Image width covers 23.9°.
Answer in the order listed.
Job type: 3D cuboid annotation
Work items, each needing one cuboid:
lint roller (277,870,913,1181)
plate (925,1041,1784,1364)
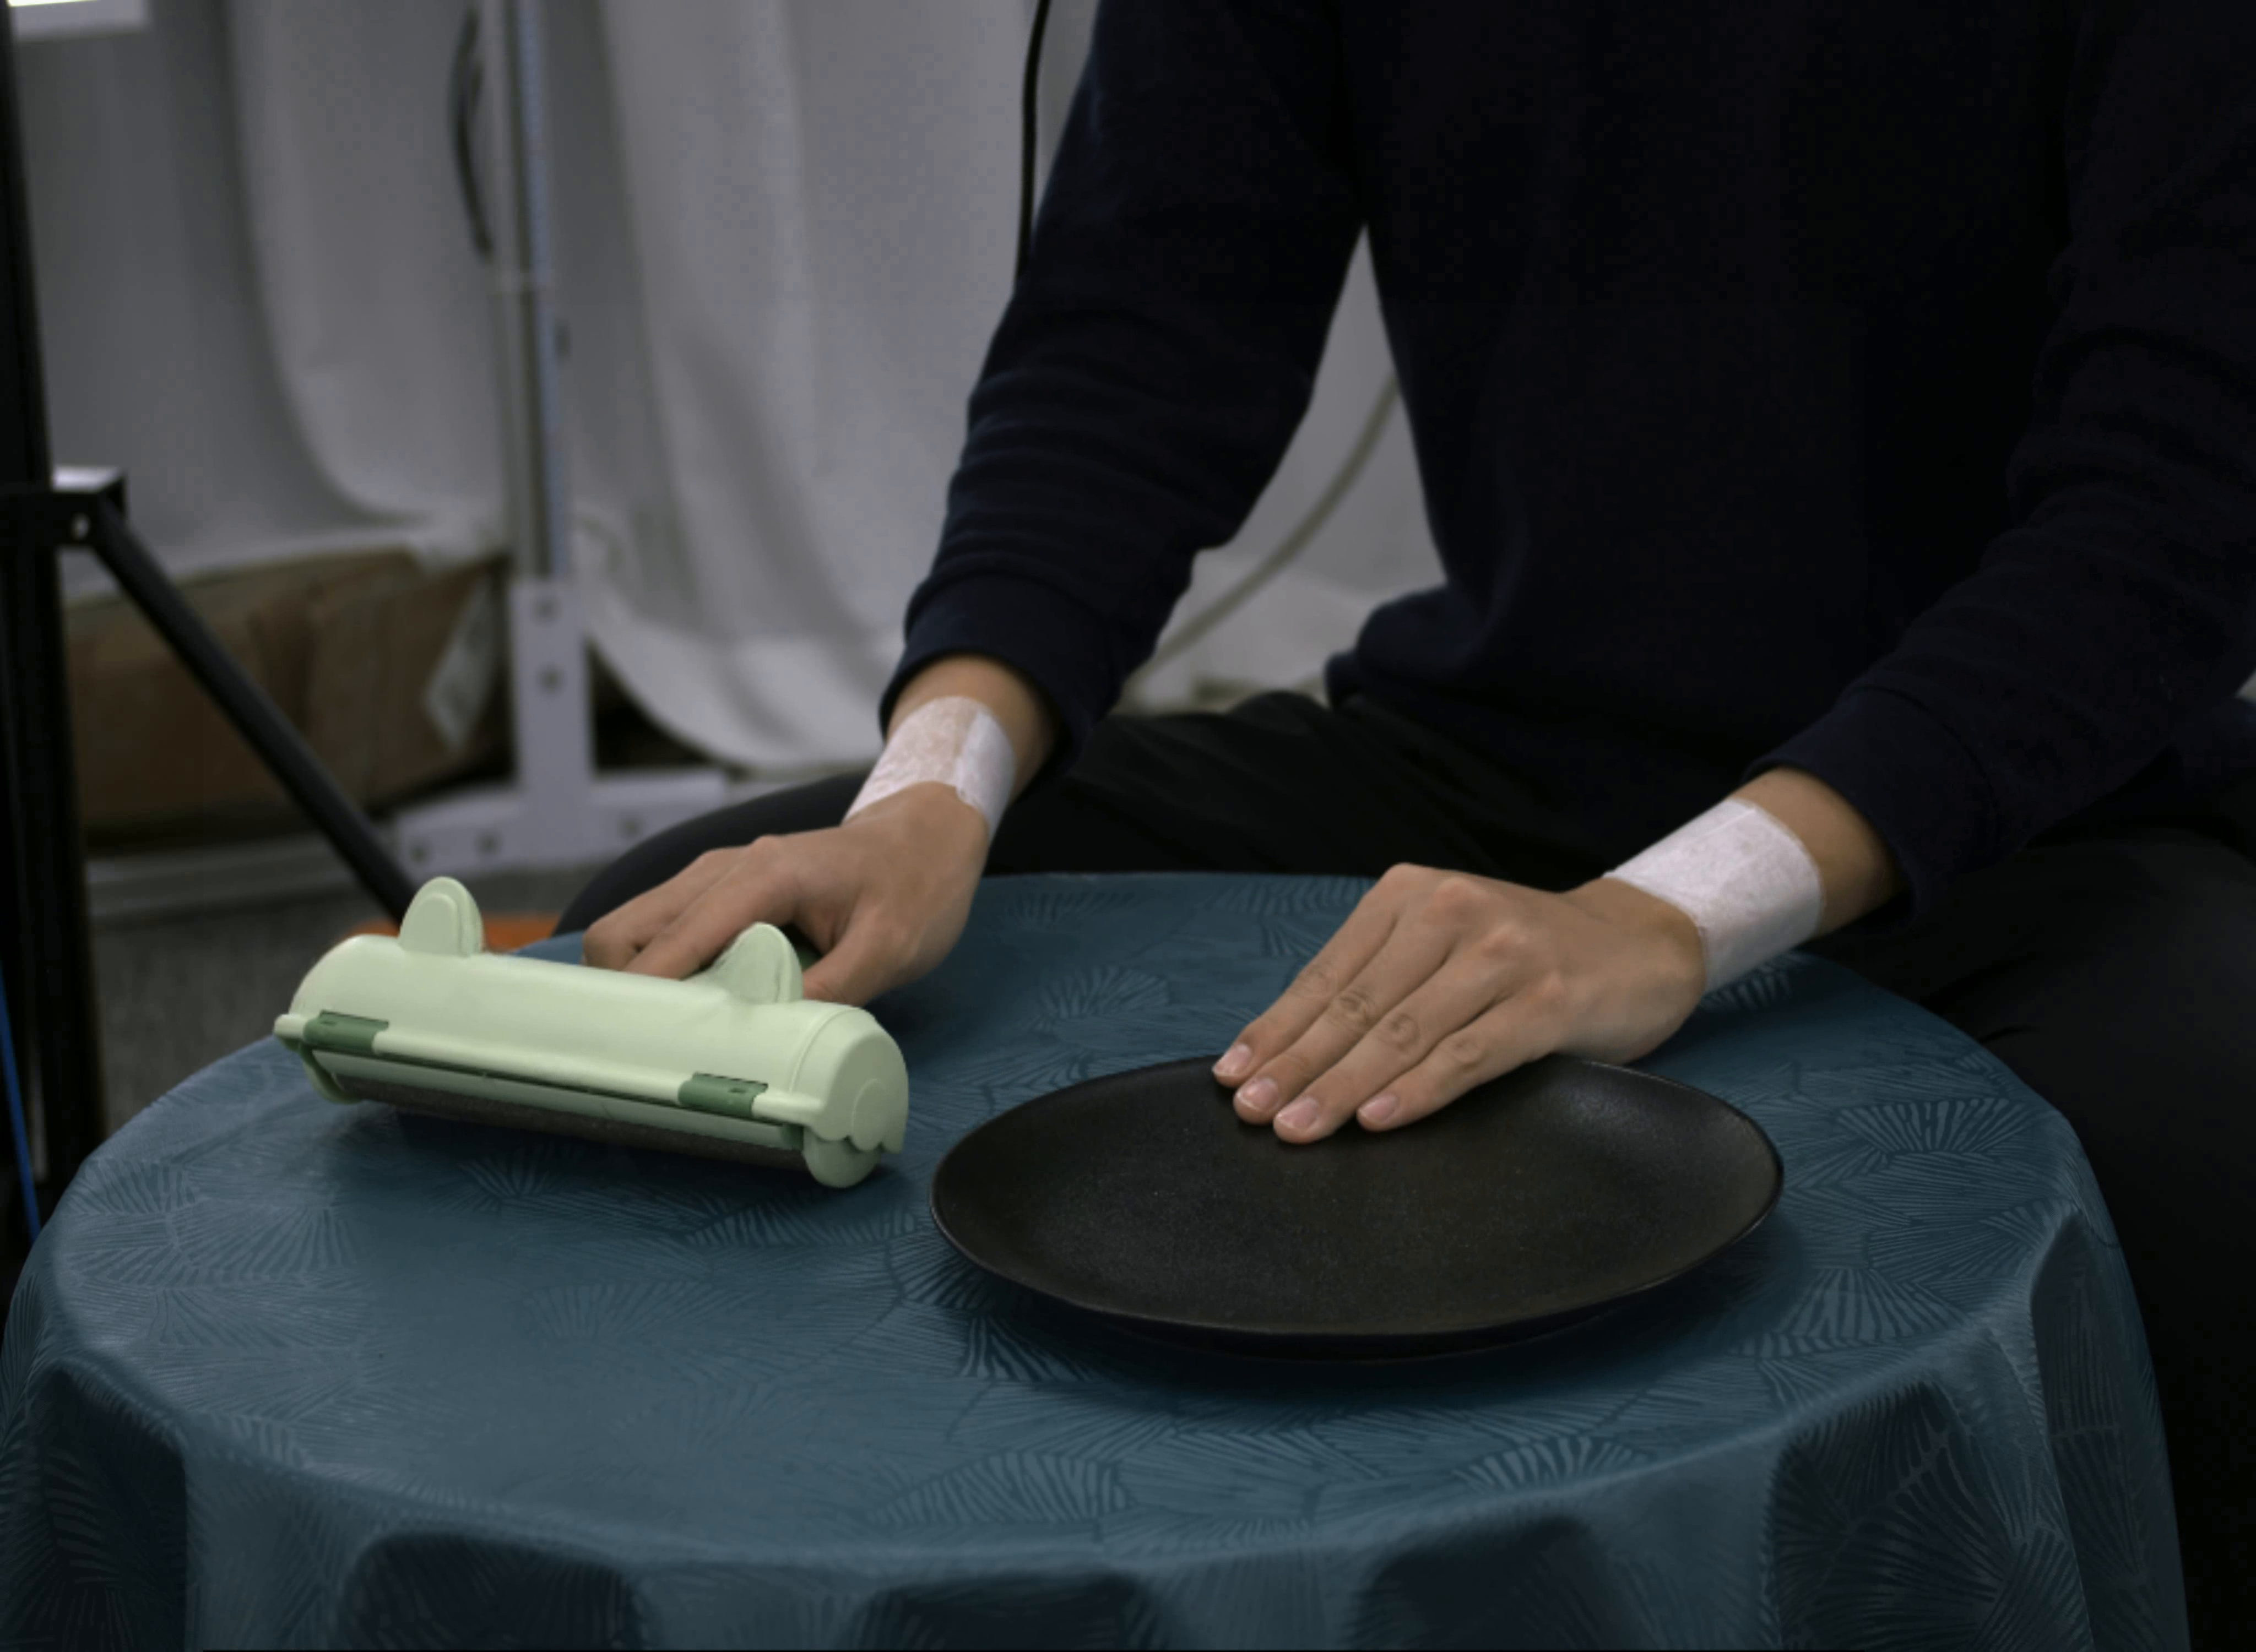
[{"bbox_3d":[-0.136,0.042,1.654,0.202,0.082,0.180,7,25,29],"label":"lint roller"},{"bbox_3d":[0.064,0.109,1.499,0.243,0.023,0.245,-3,16,-1],"label":"plate"}]
